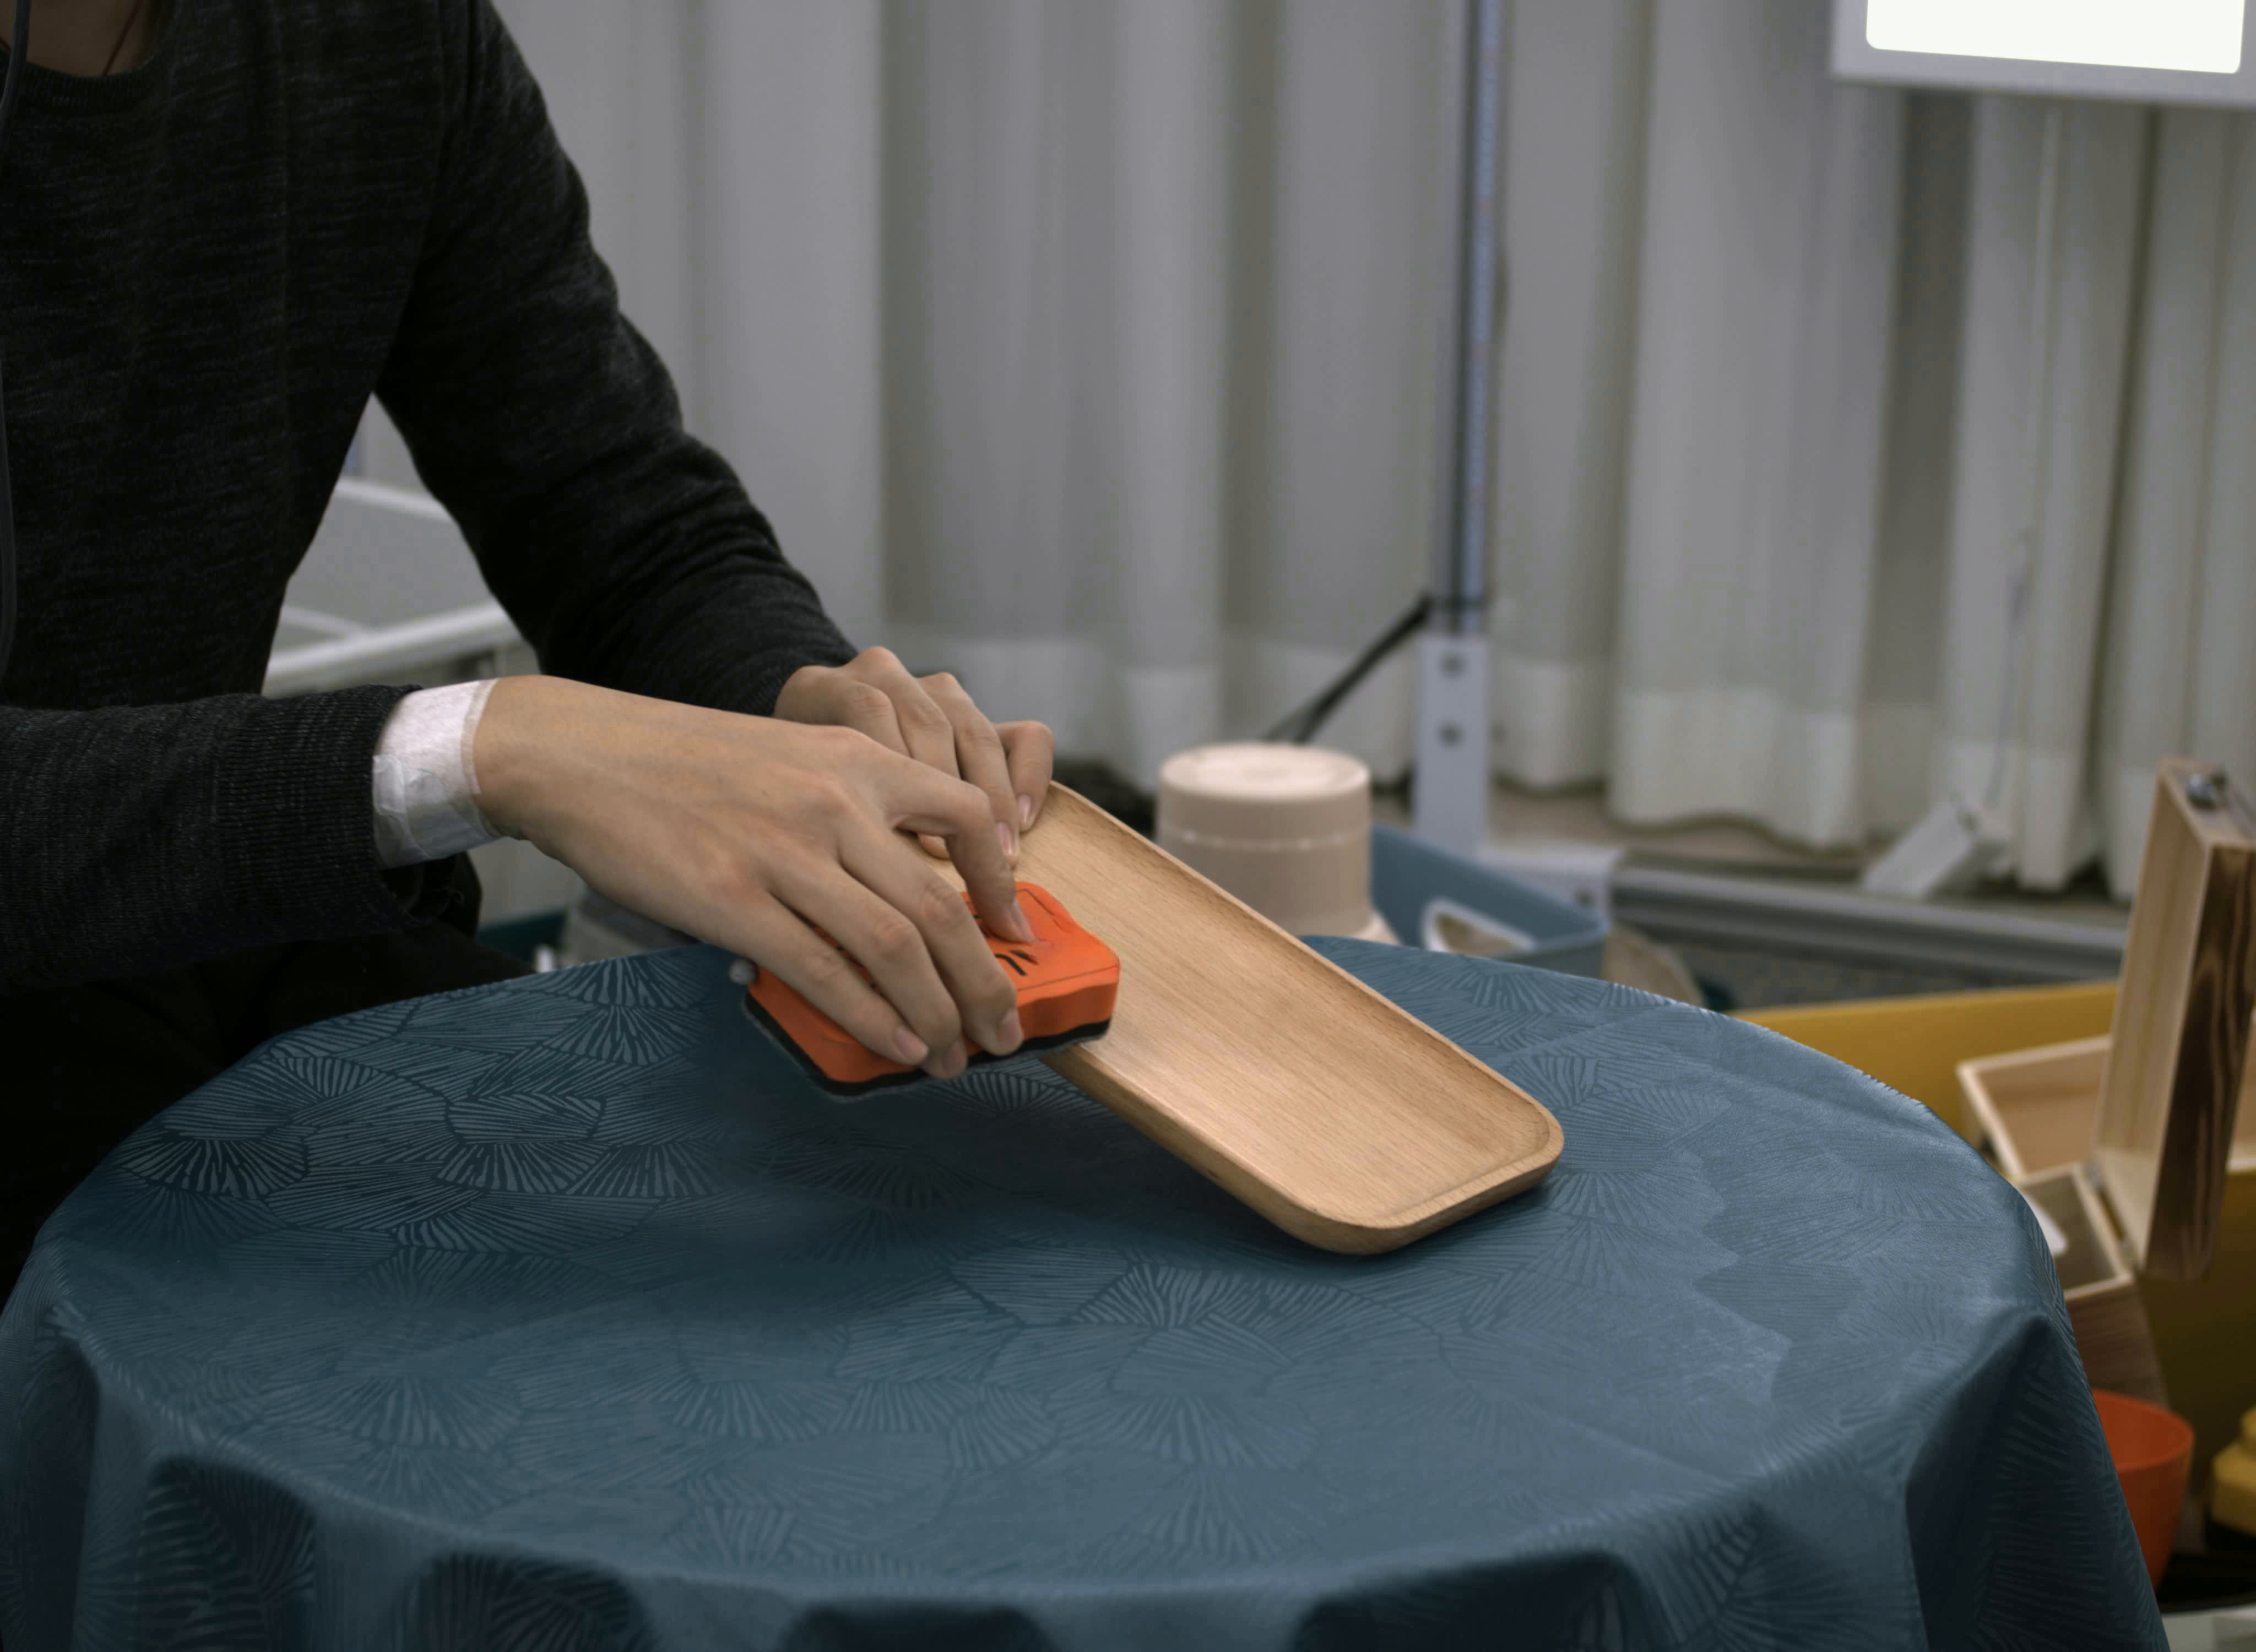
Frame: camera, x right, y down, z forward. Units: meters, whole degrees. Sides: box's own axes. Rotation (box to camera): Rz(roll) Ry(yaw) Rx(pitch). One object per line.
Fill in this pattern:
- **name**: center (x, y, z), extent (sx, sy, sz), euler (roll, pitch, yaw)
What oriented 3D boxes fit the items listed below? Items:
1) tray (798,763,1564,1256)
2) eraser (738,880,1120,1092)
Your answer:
- **tray**: center (0.014, 0.054, 1.648), extent (0.247, 0.023, 0.131), euler (34, 29, 29)
- **eraser**: center (-0.060, 0.047, 1.585), extent (0.108, 0.023, 0.058), euler (-11, 39, -35)
